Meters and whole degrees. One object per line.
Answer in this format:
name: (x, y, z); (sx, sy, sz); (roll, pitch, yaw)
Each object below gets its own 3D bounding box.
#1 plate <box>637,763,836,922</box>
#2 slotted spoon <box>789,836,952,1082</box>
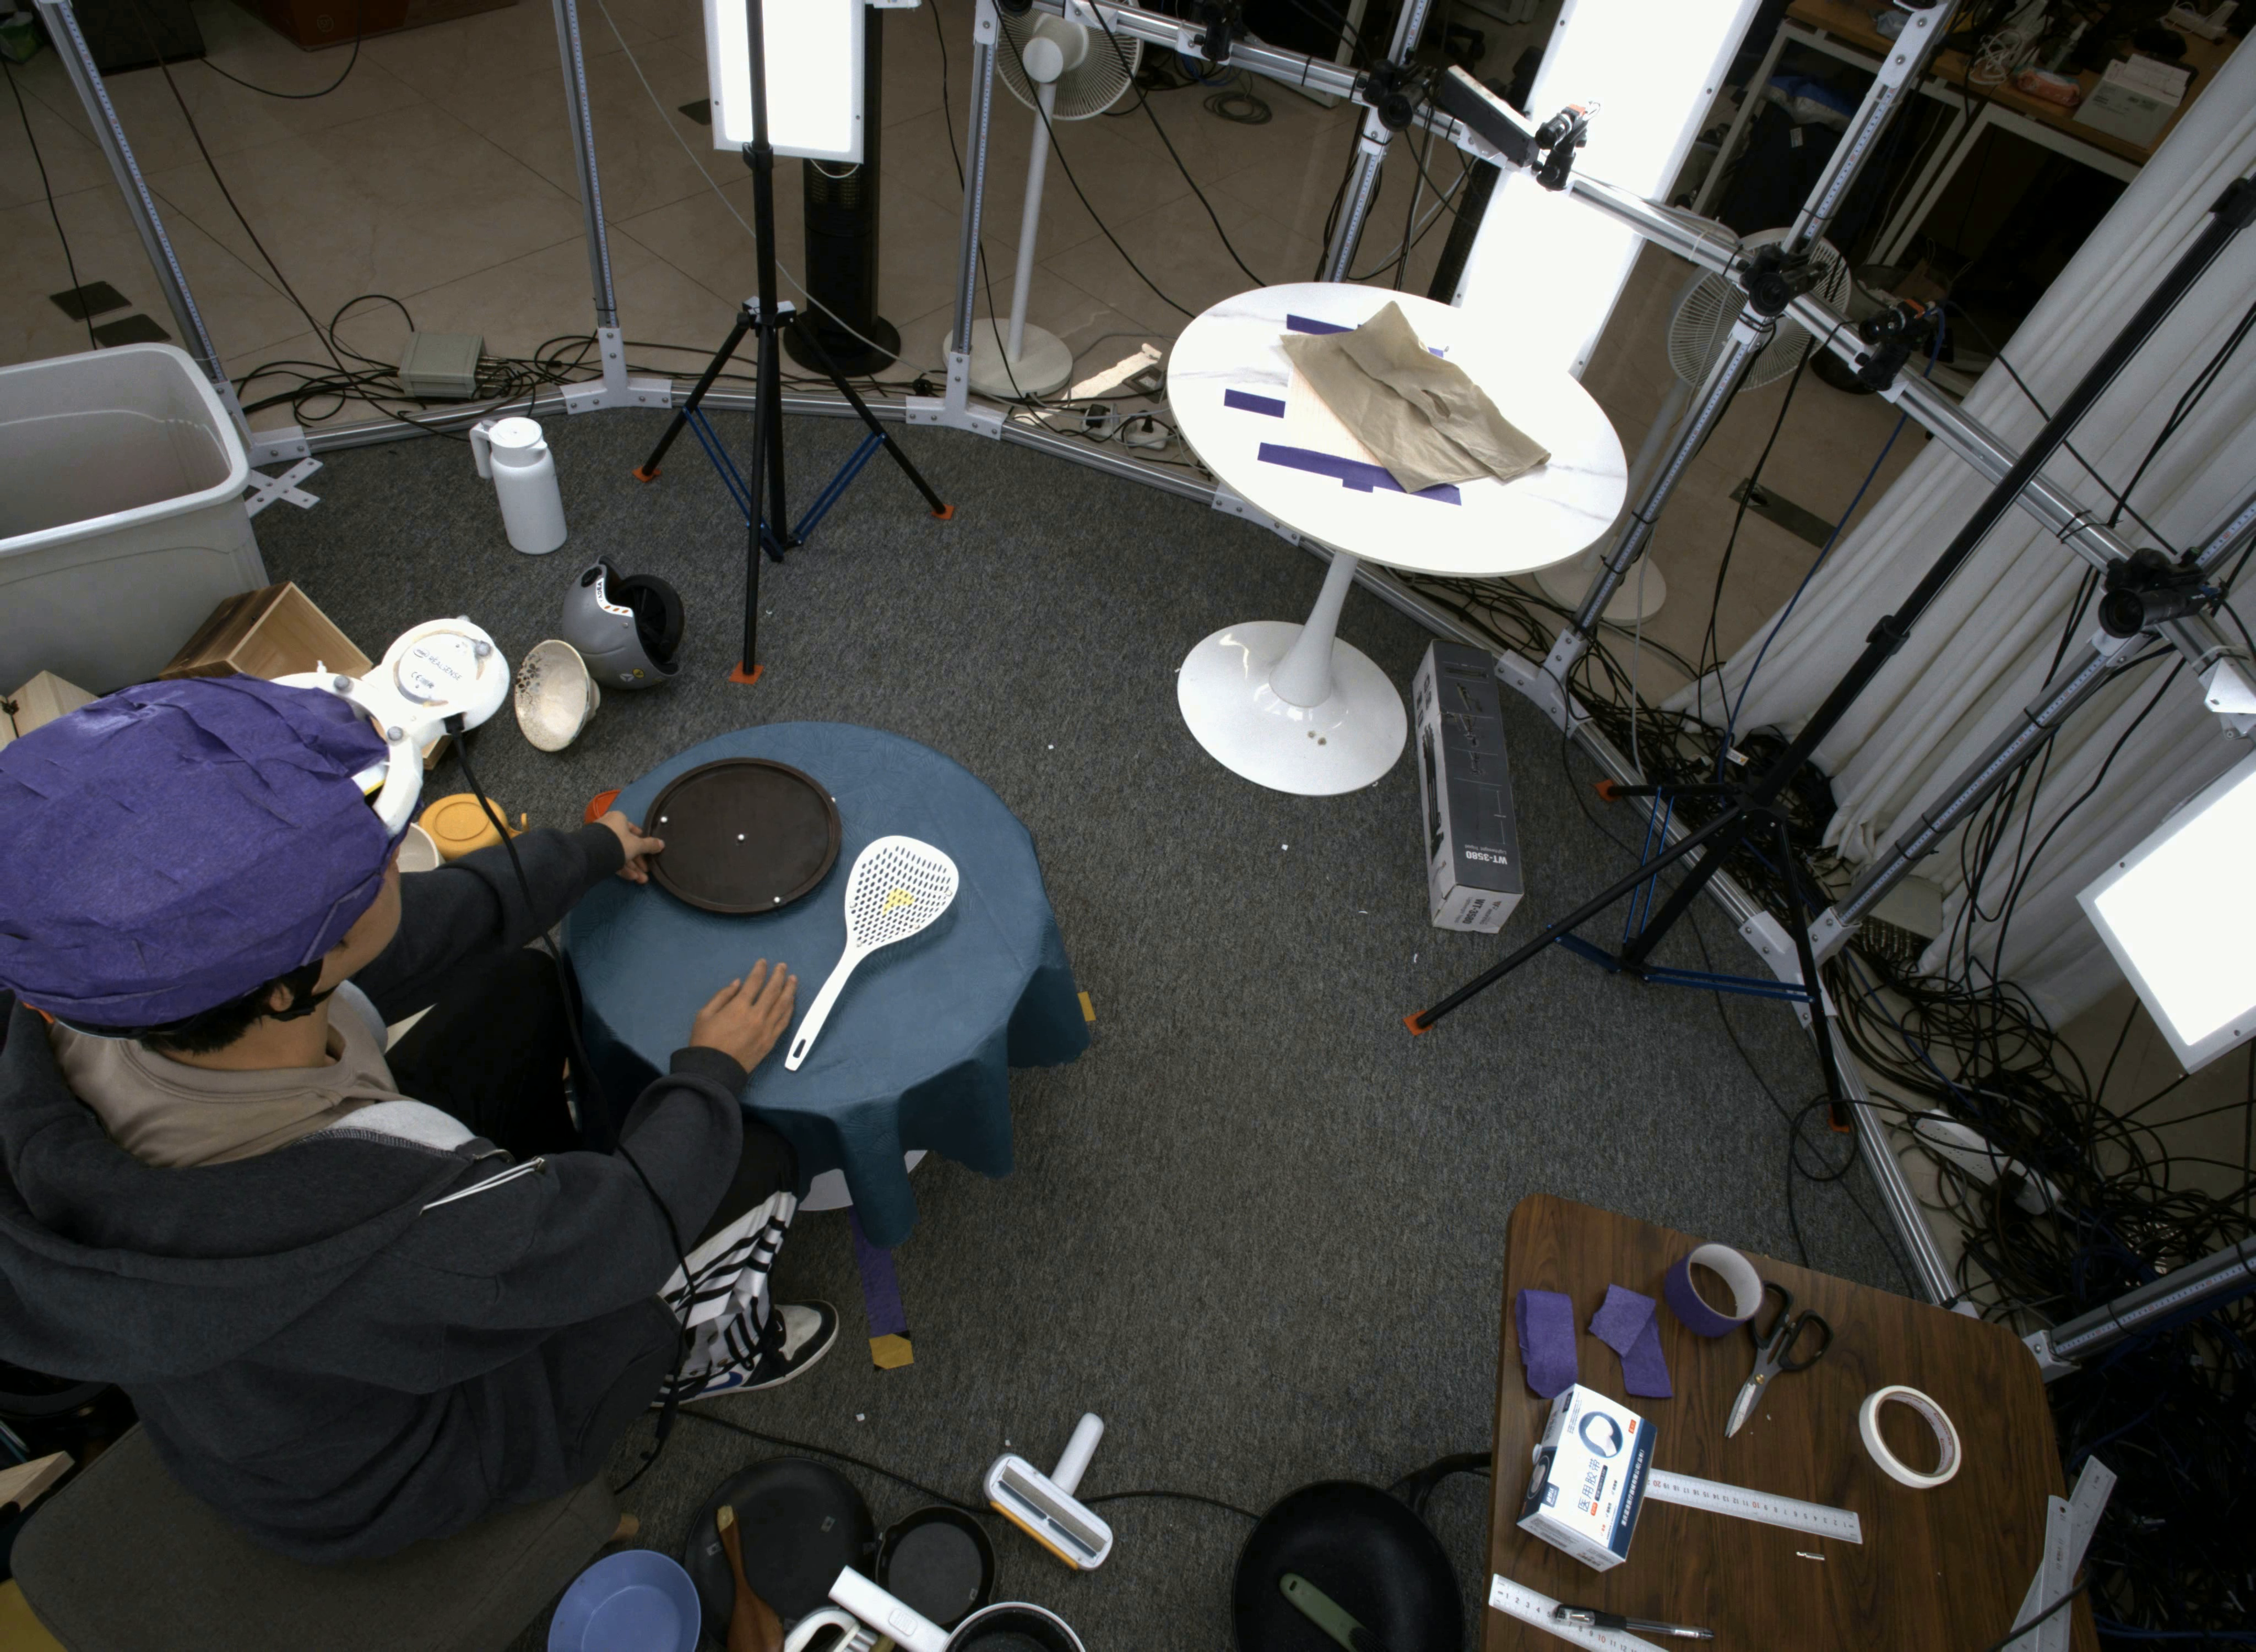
plate: (-0.508, 0.018, 1.679); (0.254, 0.029, 0.250); (9, 53, -10)
slotted spoon: (-0.337, 0.157, 1.608); (0.135, 0.051, 0.345); (25, 52, 2)
